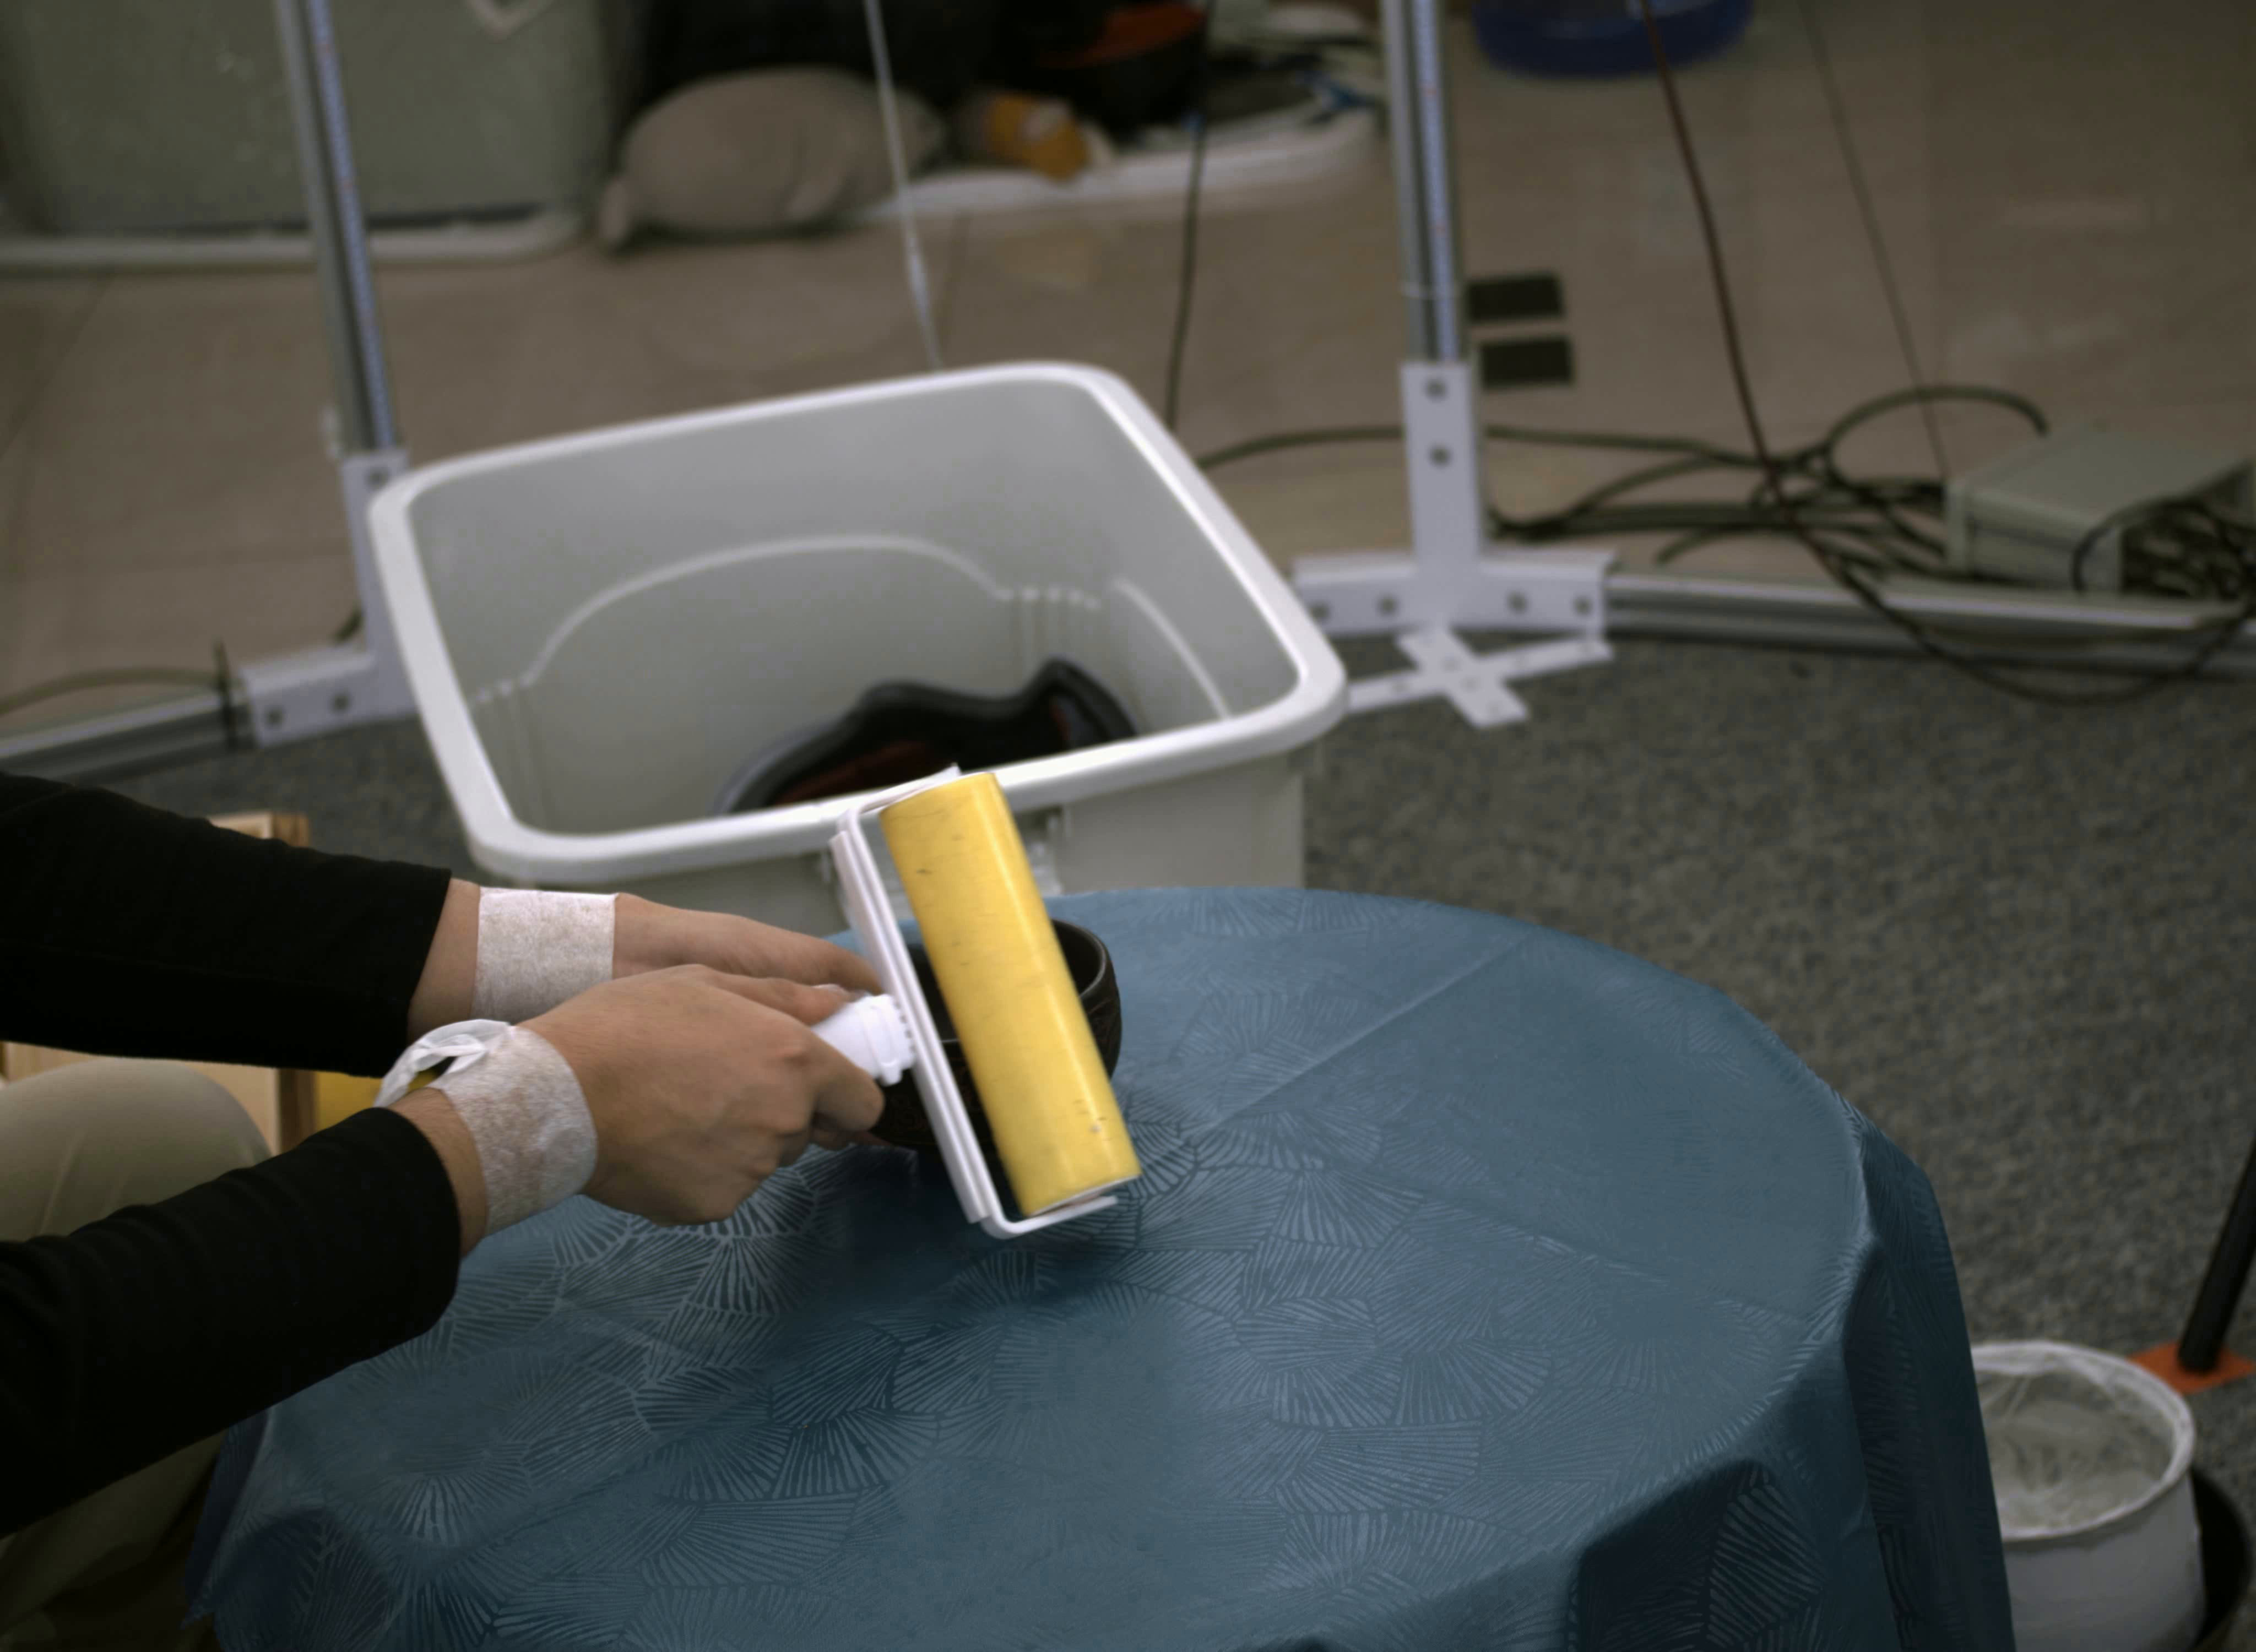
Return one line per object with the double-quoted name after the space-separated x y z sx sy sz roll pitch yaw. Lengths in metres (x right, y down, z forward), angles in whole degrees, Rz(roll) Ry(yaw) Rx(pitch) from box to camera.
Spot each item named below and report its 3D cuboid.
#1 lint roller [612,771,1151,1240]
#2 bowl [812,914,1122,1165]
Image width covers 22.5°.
-0.098 0.083 2.063 0.191 0.174 0.052 -19 -4 -36 "lint roller"
-0.059 0.087 2.183 0.118 0.071 0.116 -8 24 4 "bowl"
